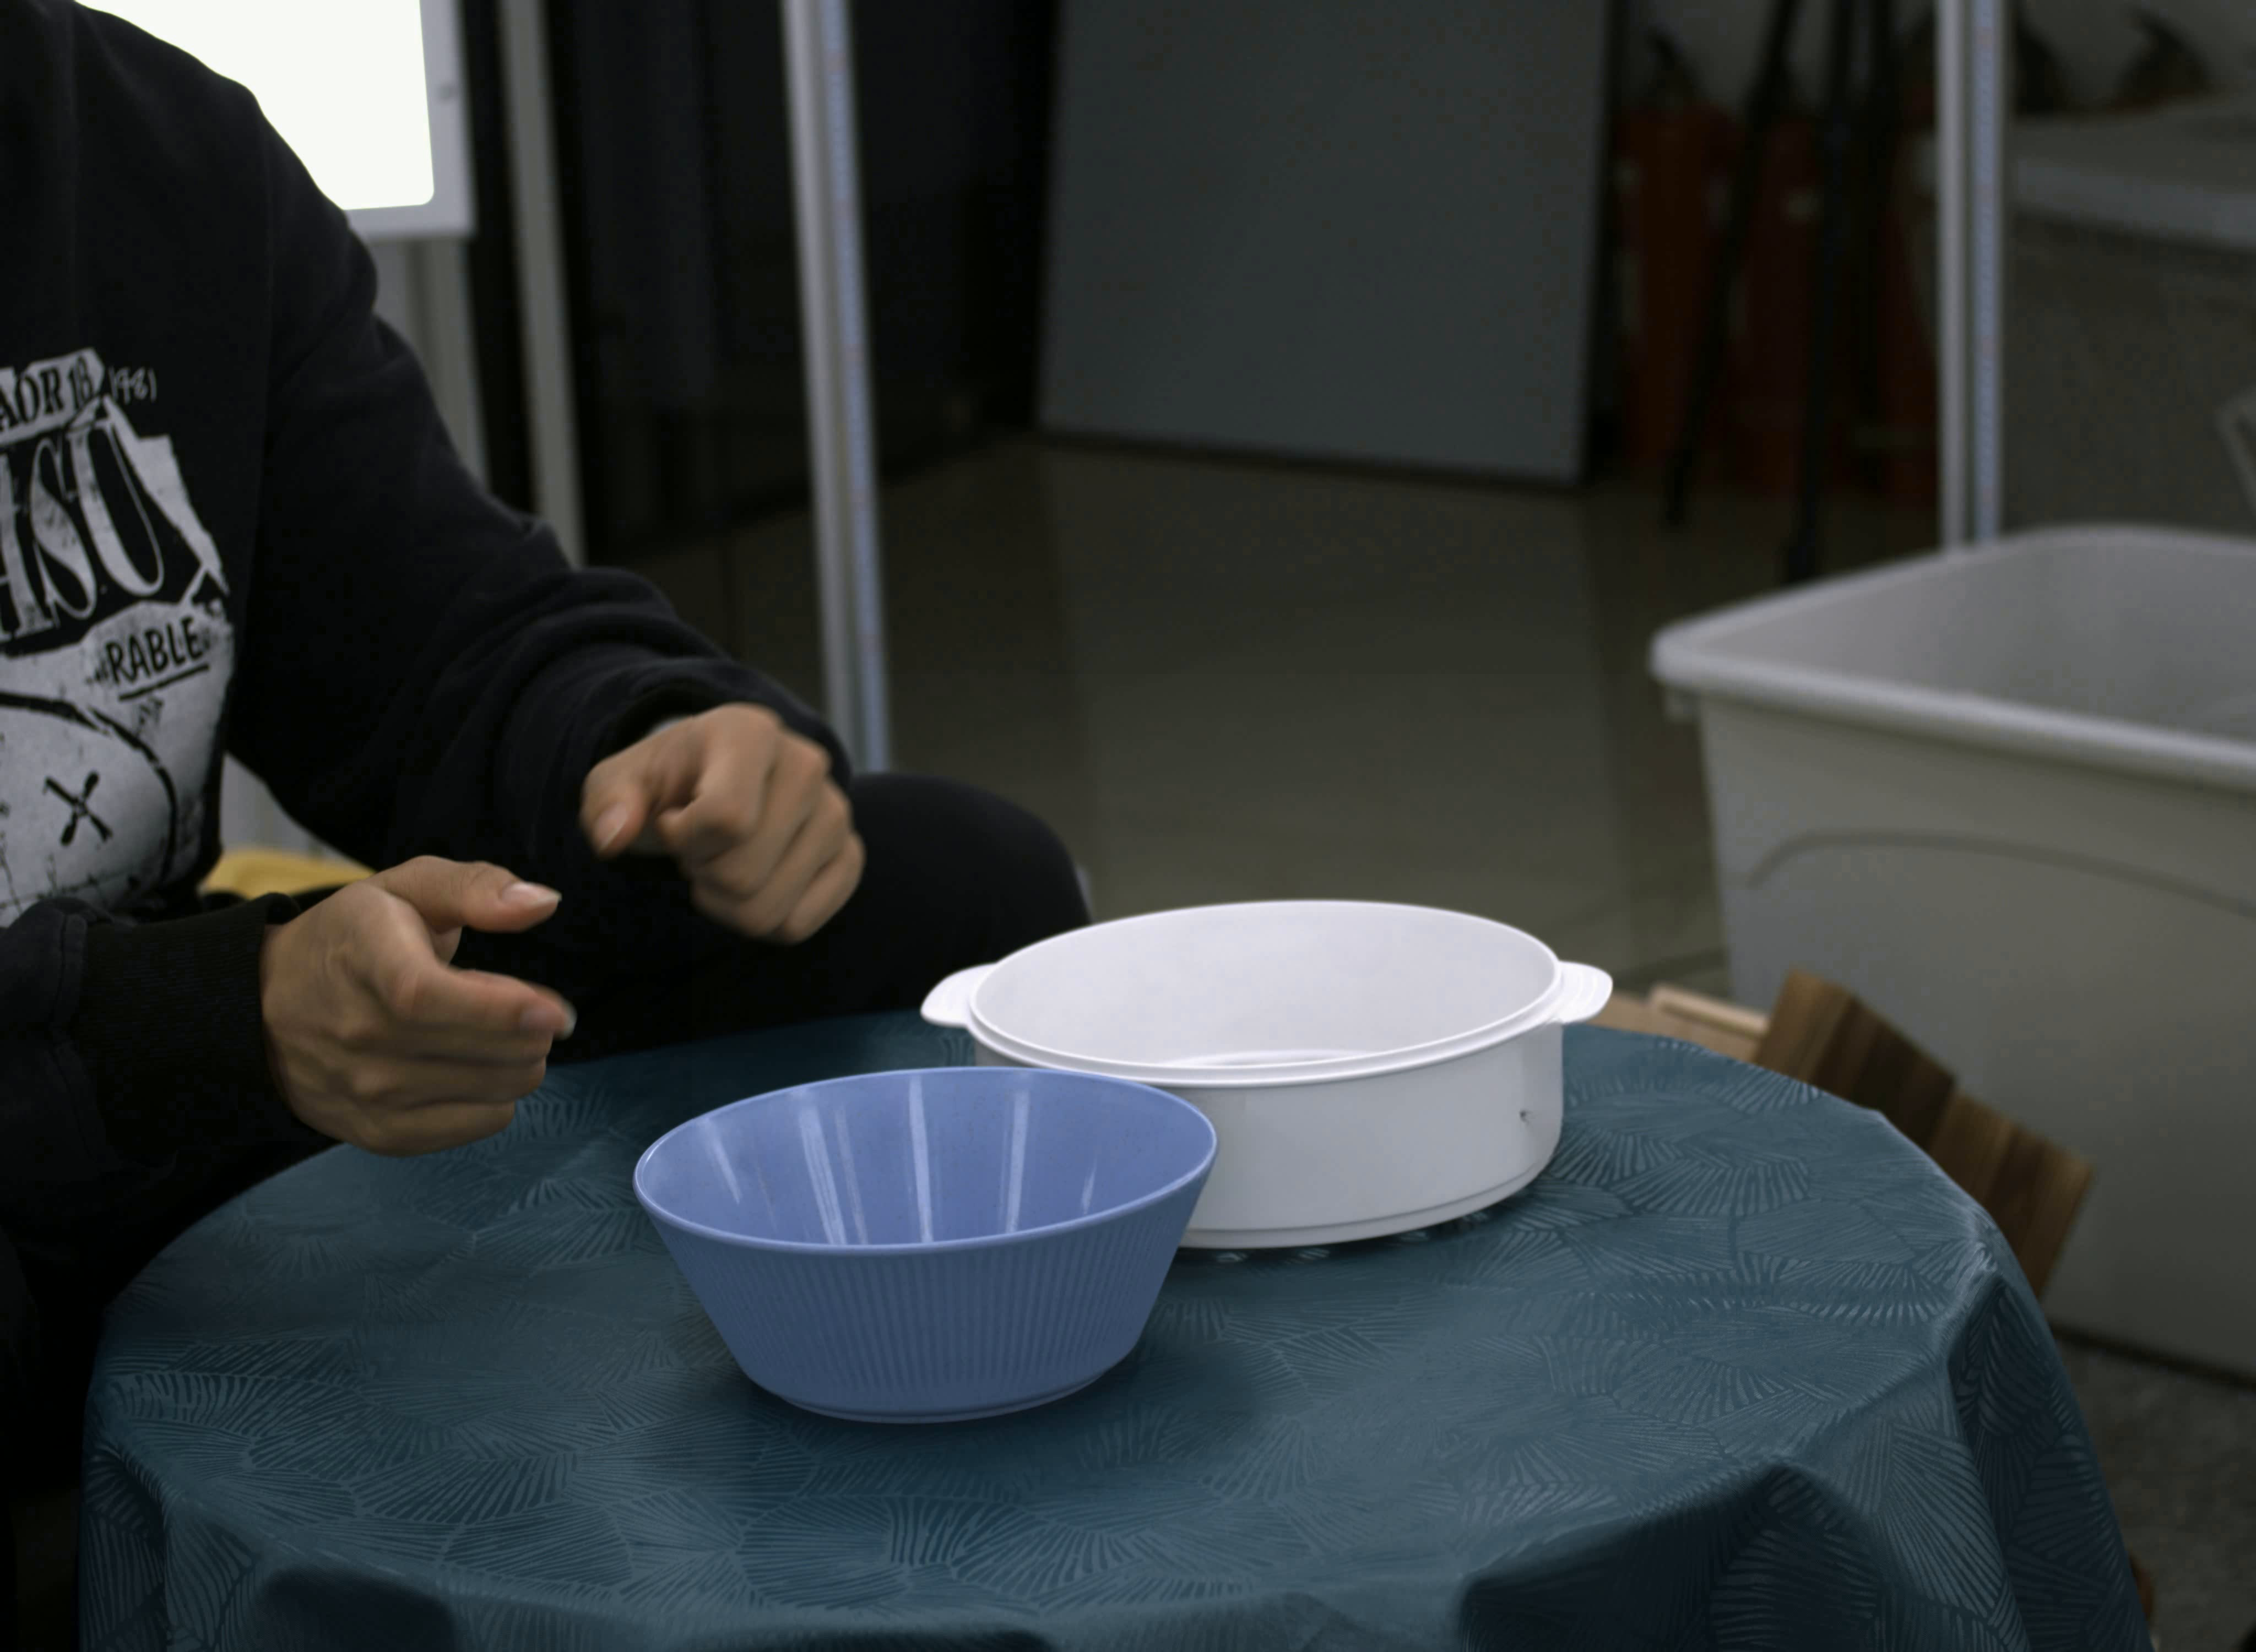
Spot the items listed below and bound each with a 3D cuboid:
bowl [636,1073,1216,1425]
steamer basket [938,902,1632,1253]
[{"bbox_3d":[-0.058,0.128,1.611,0.174,0.071,0.176,-4,12,0],"label":"bowl"},{"bbox_3d":[0.052,0.082,1.771,0.229,0.070,0.201,1,14,12],"label":"steamer basket"}]
